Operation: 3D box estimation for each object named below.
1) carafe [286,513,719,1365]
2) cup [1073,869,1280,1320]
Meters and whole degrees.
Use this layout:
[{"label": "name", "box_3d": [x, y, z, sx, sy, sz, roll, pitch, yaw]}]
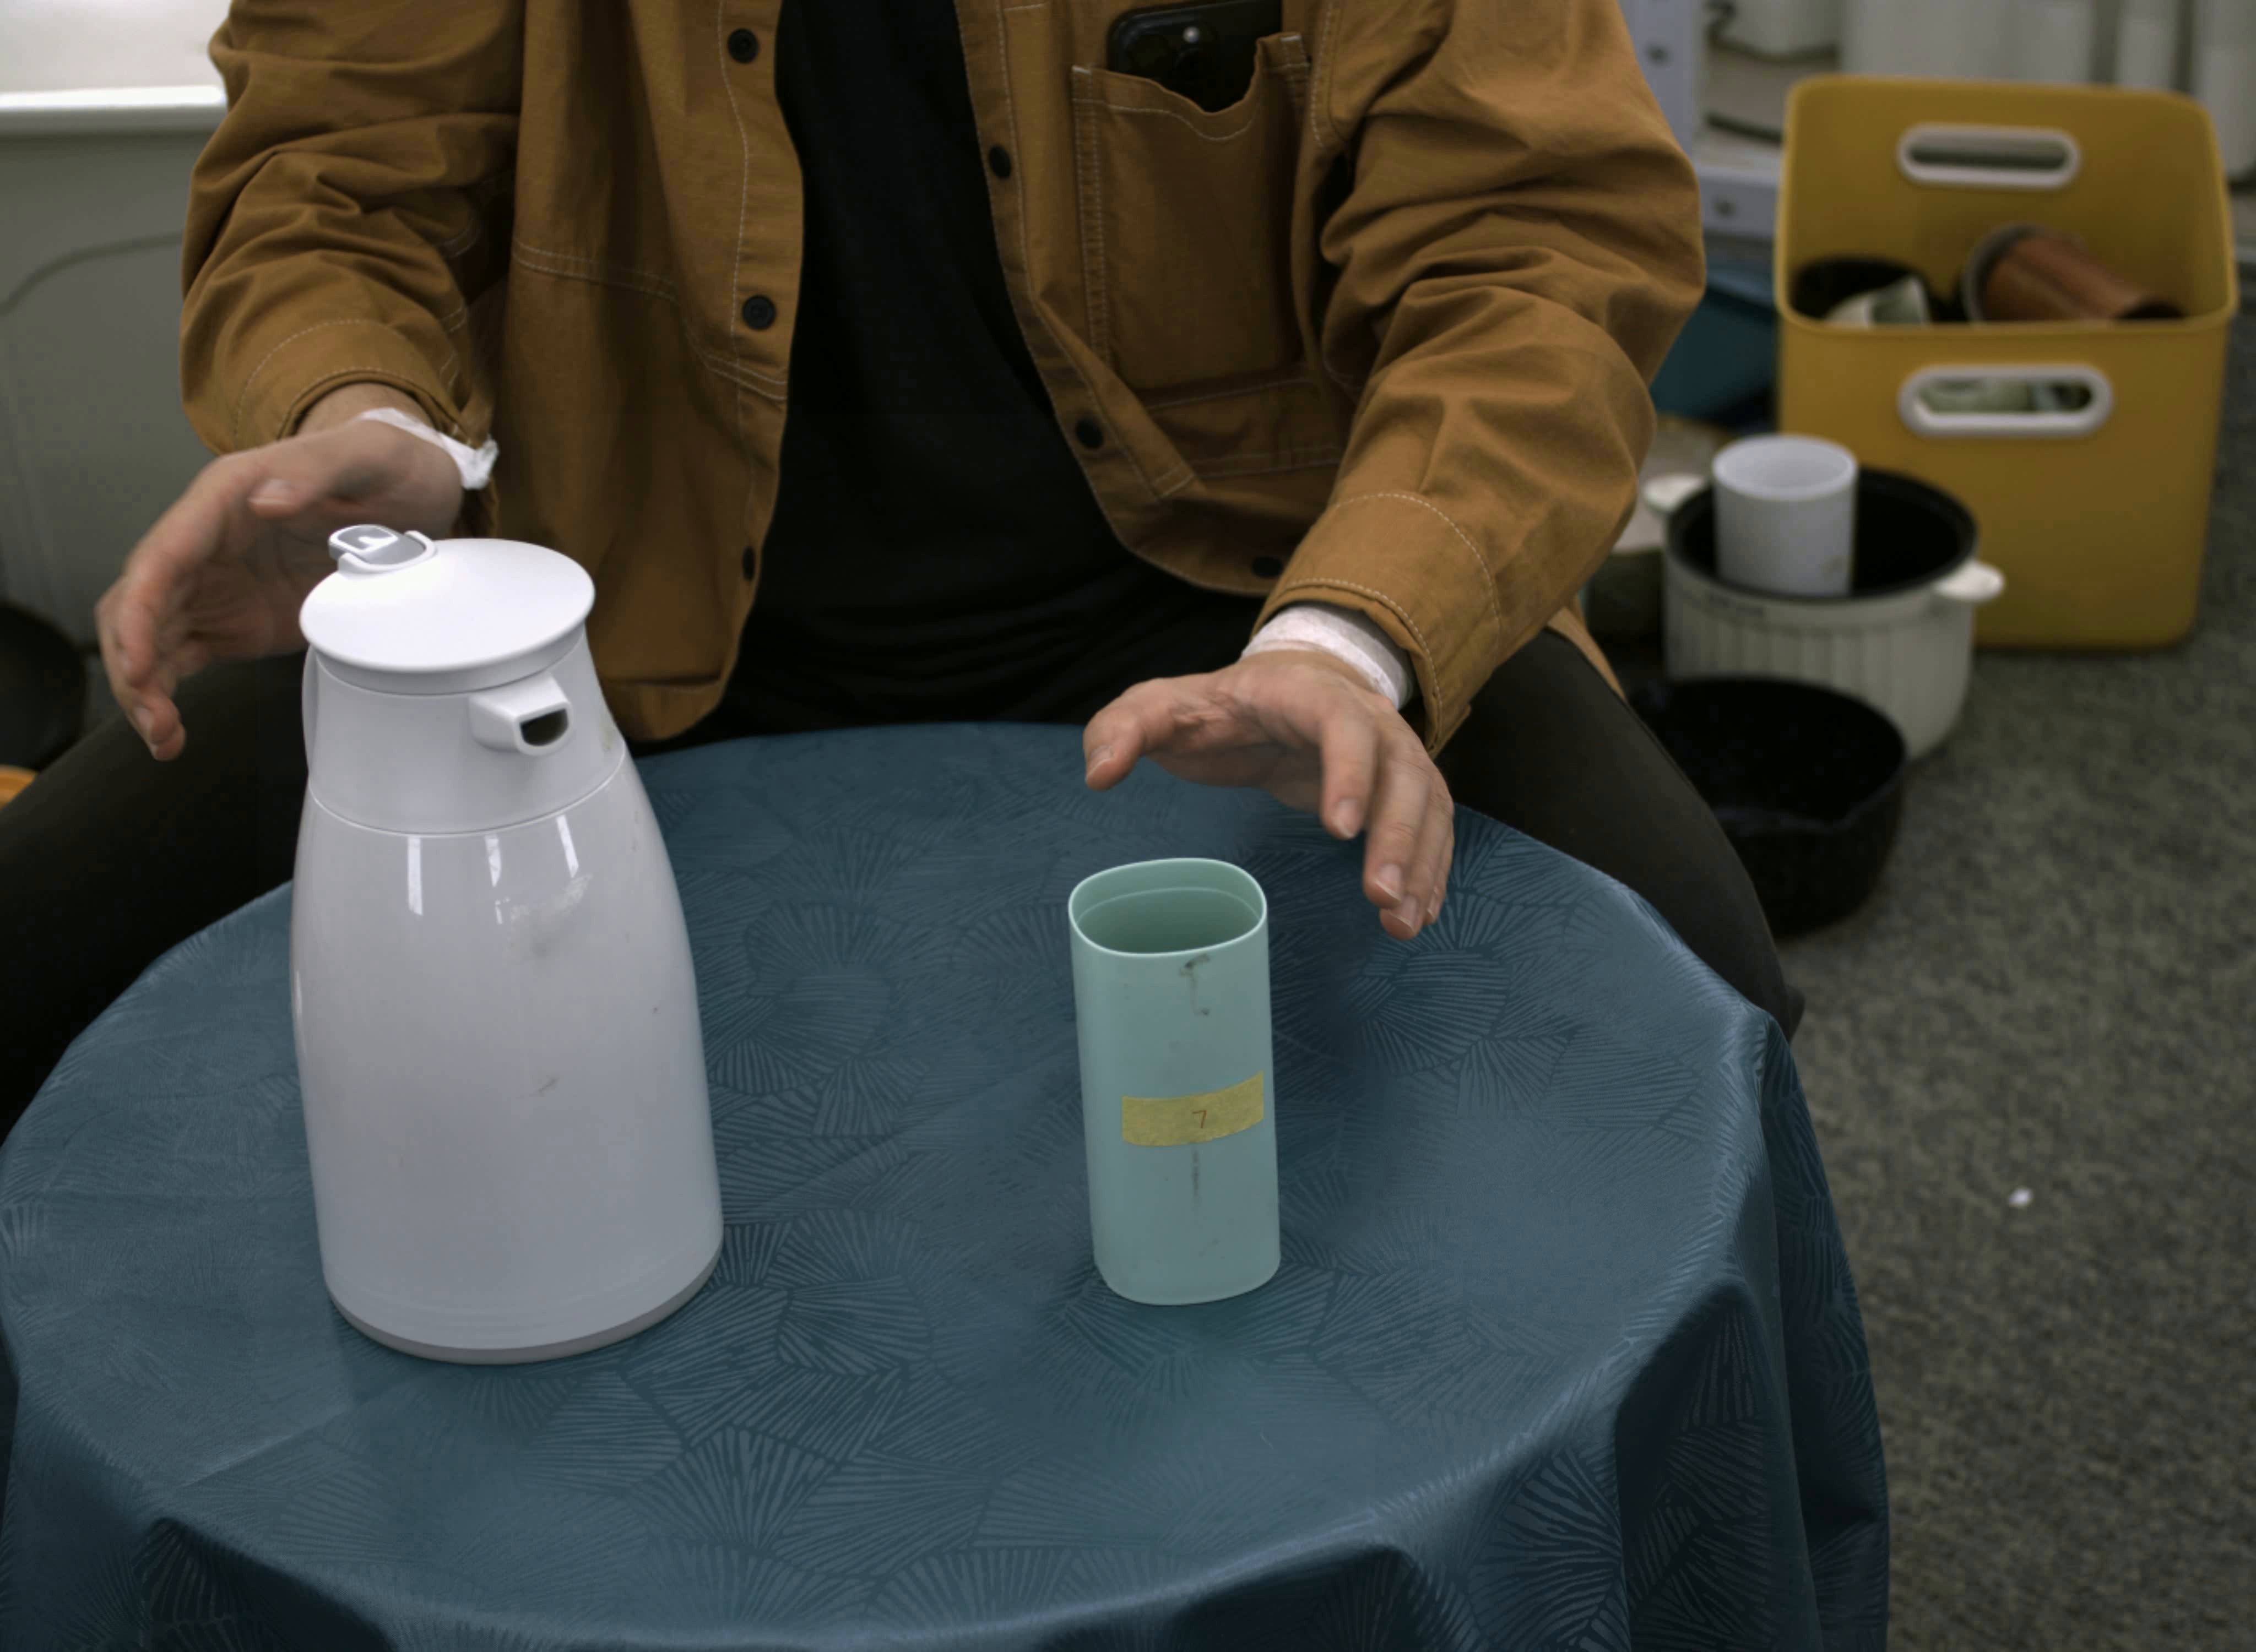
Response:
[{"label": "carafe", "box_3d": [-0.216, 0.026, 1.799, 0.133, 0.246, 0.168, -19, 30, -29]}, {"label": "cup", "box_3d": [0.016, 0.085, 1.795, 0.066, 0.131, 0.068, -2, 26, 1]}]
